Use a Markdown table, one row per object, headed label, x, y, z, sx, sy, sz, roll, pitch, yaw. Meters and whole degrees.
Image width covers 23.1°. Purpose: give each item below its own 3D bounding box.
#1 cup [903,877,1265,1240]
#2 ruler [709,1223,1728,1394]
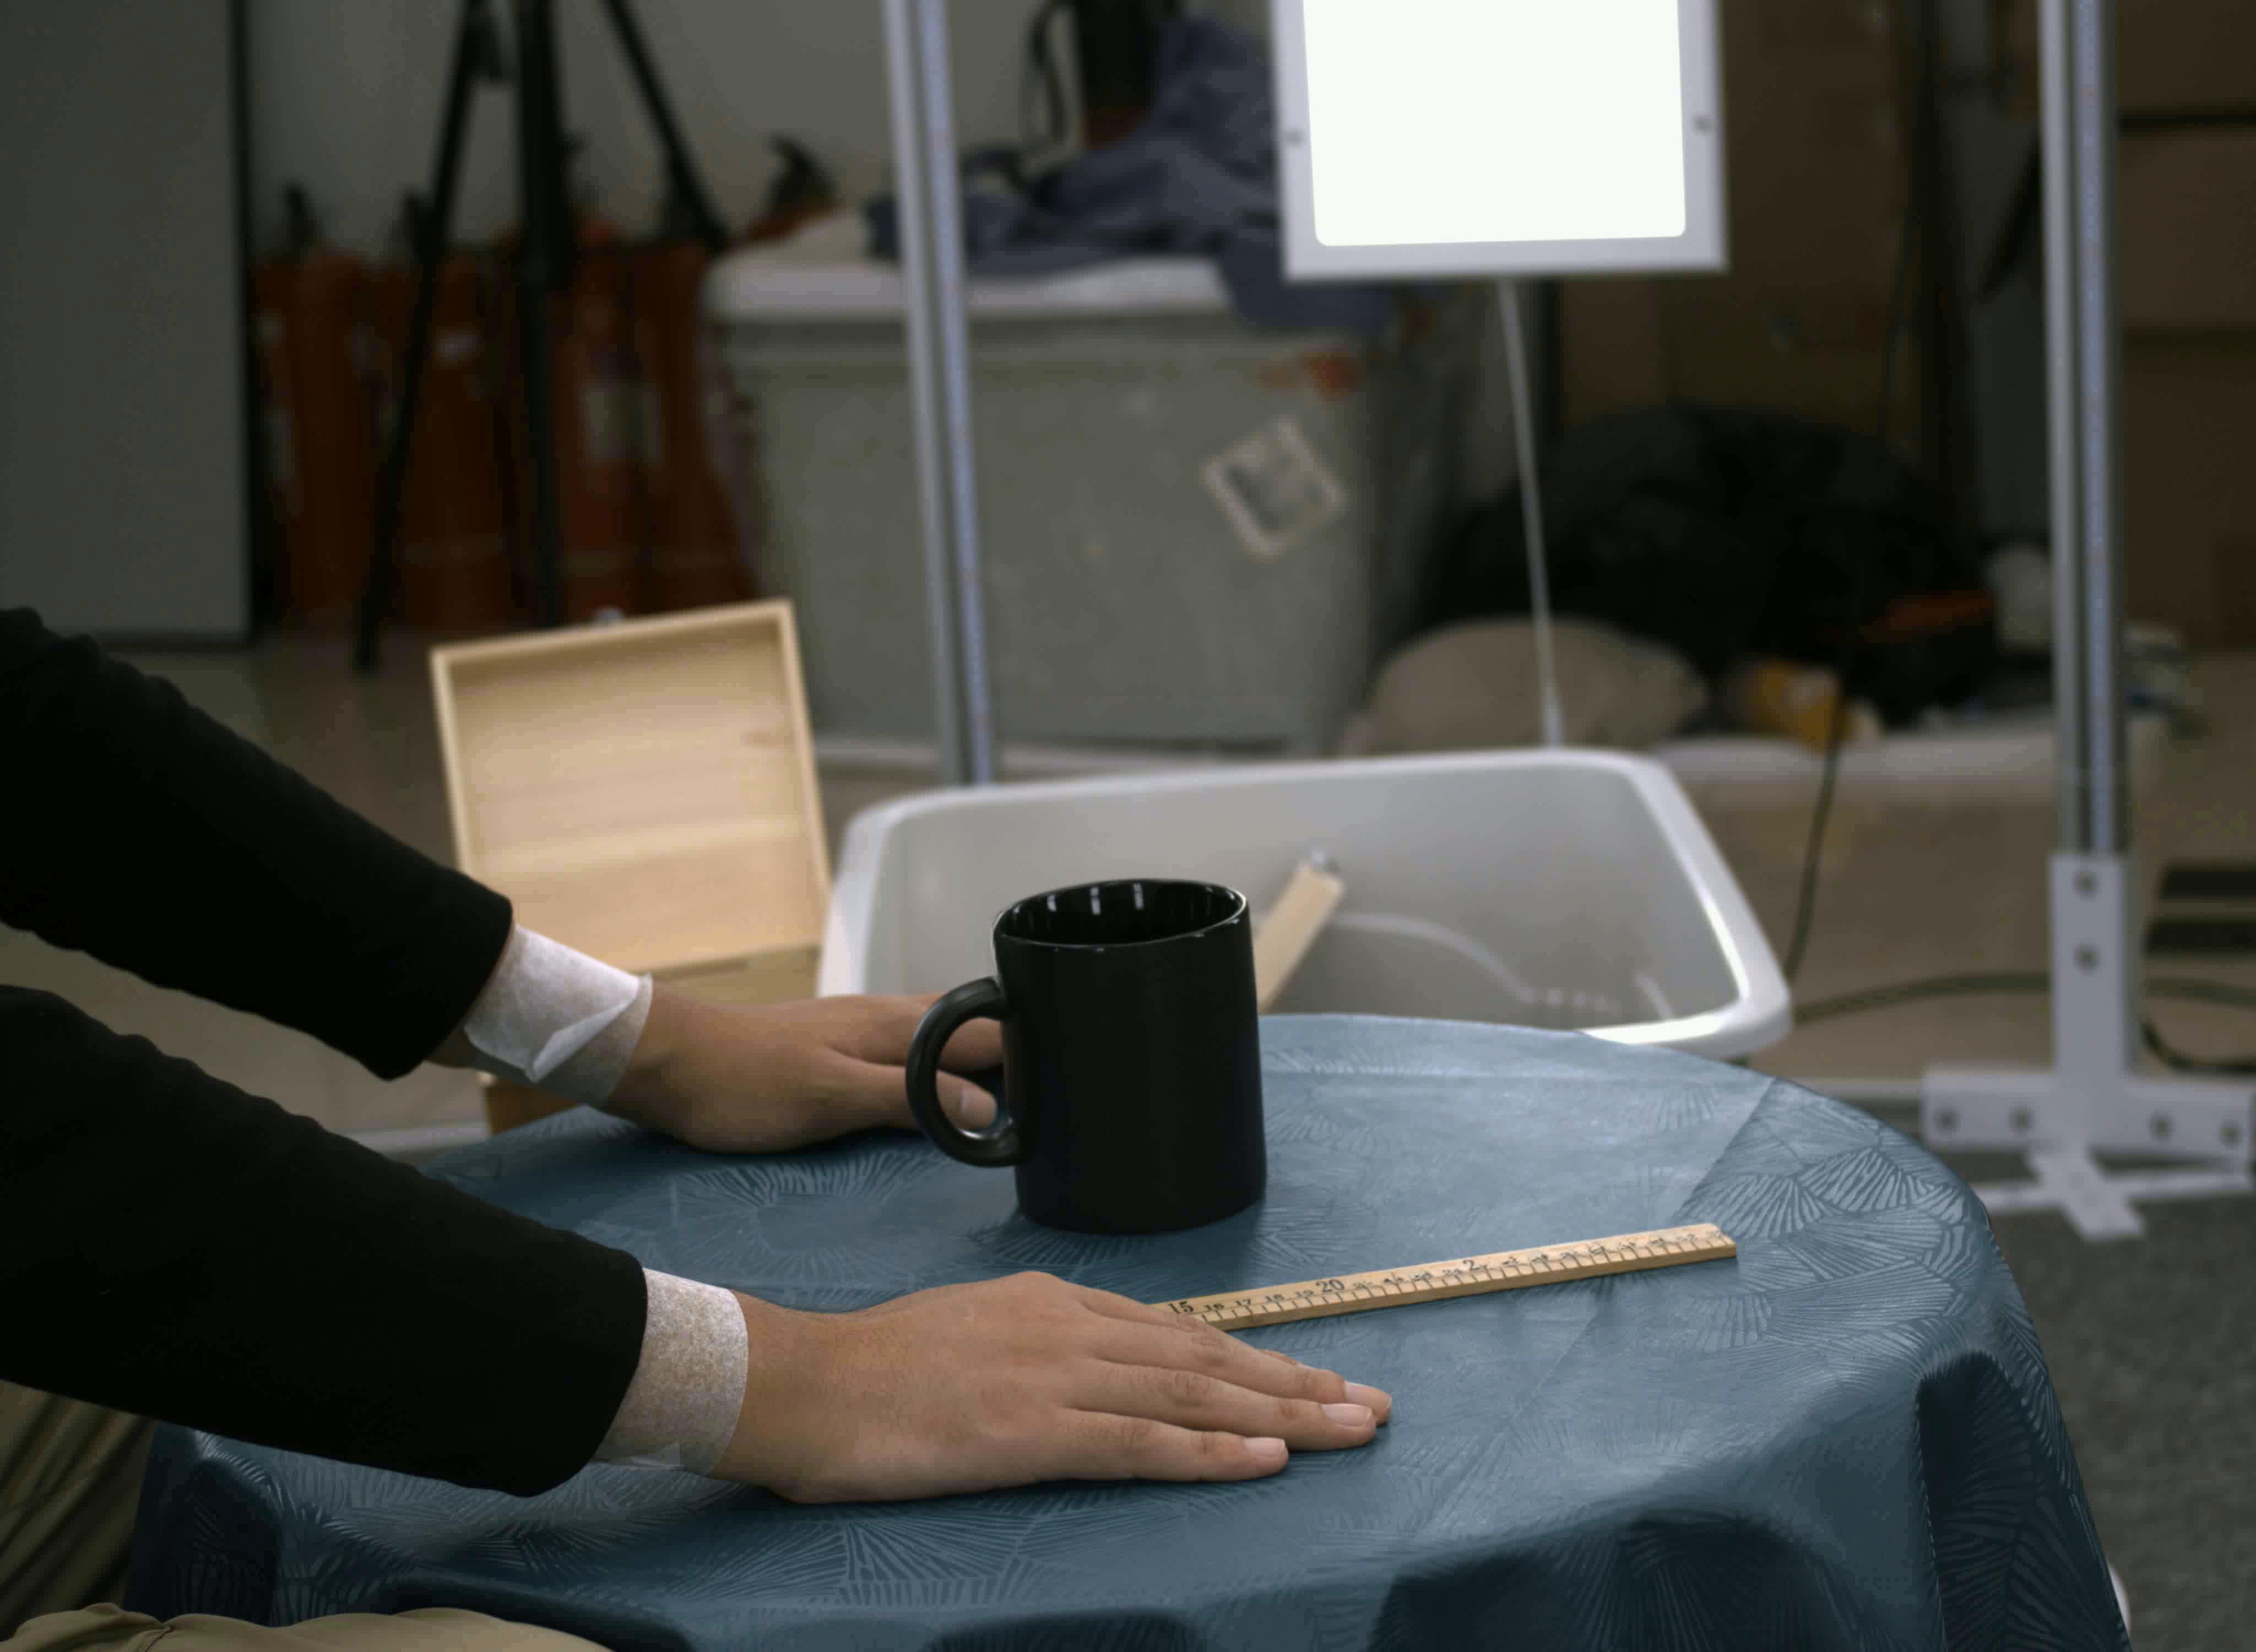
| label | x | y | z | sx | sy | sz | roll | pitch | yaw |
| --- | --- | --- | --- | --- | --- | --- | --- | --- | --- |
| cup | -0.016 | 0.081 | 1.876 | 0.122 | 0.105 | 0.089 | -8 | 16 | -10 |
| ruler | 0.031 | 0.152 | 1.760 | 0.329 | 0.022 | 0.027 | -6 | 9 | -8 |
